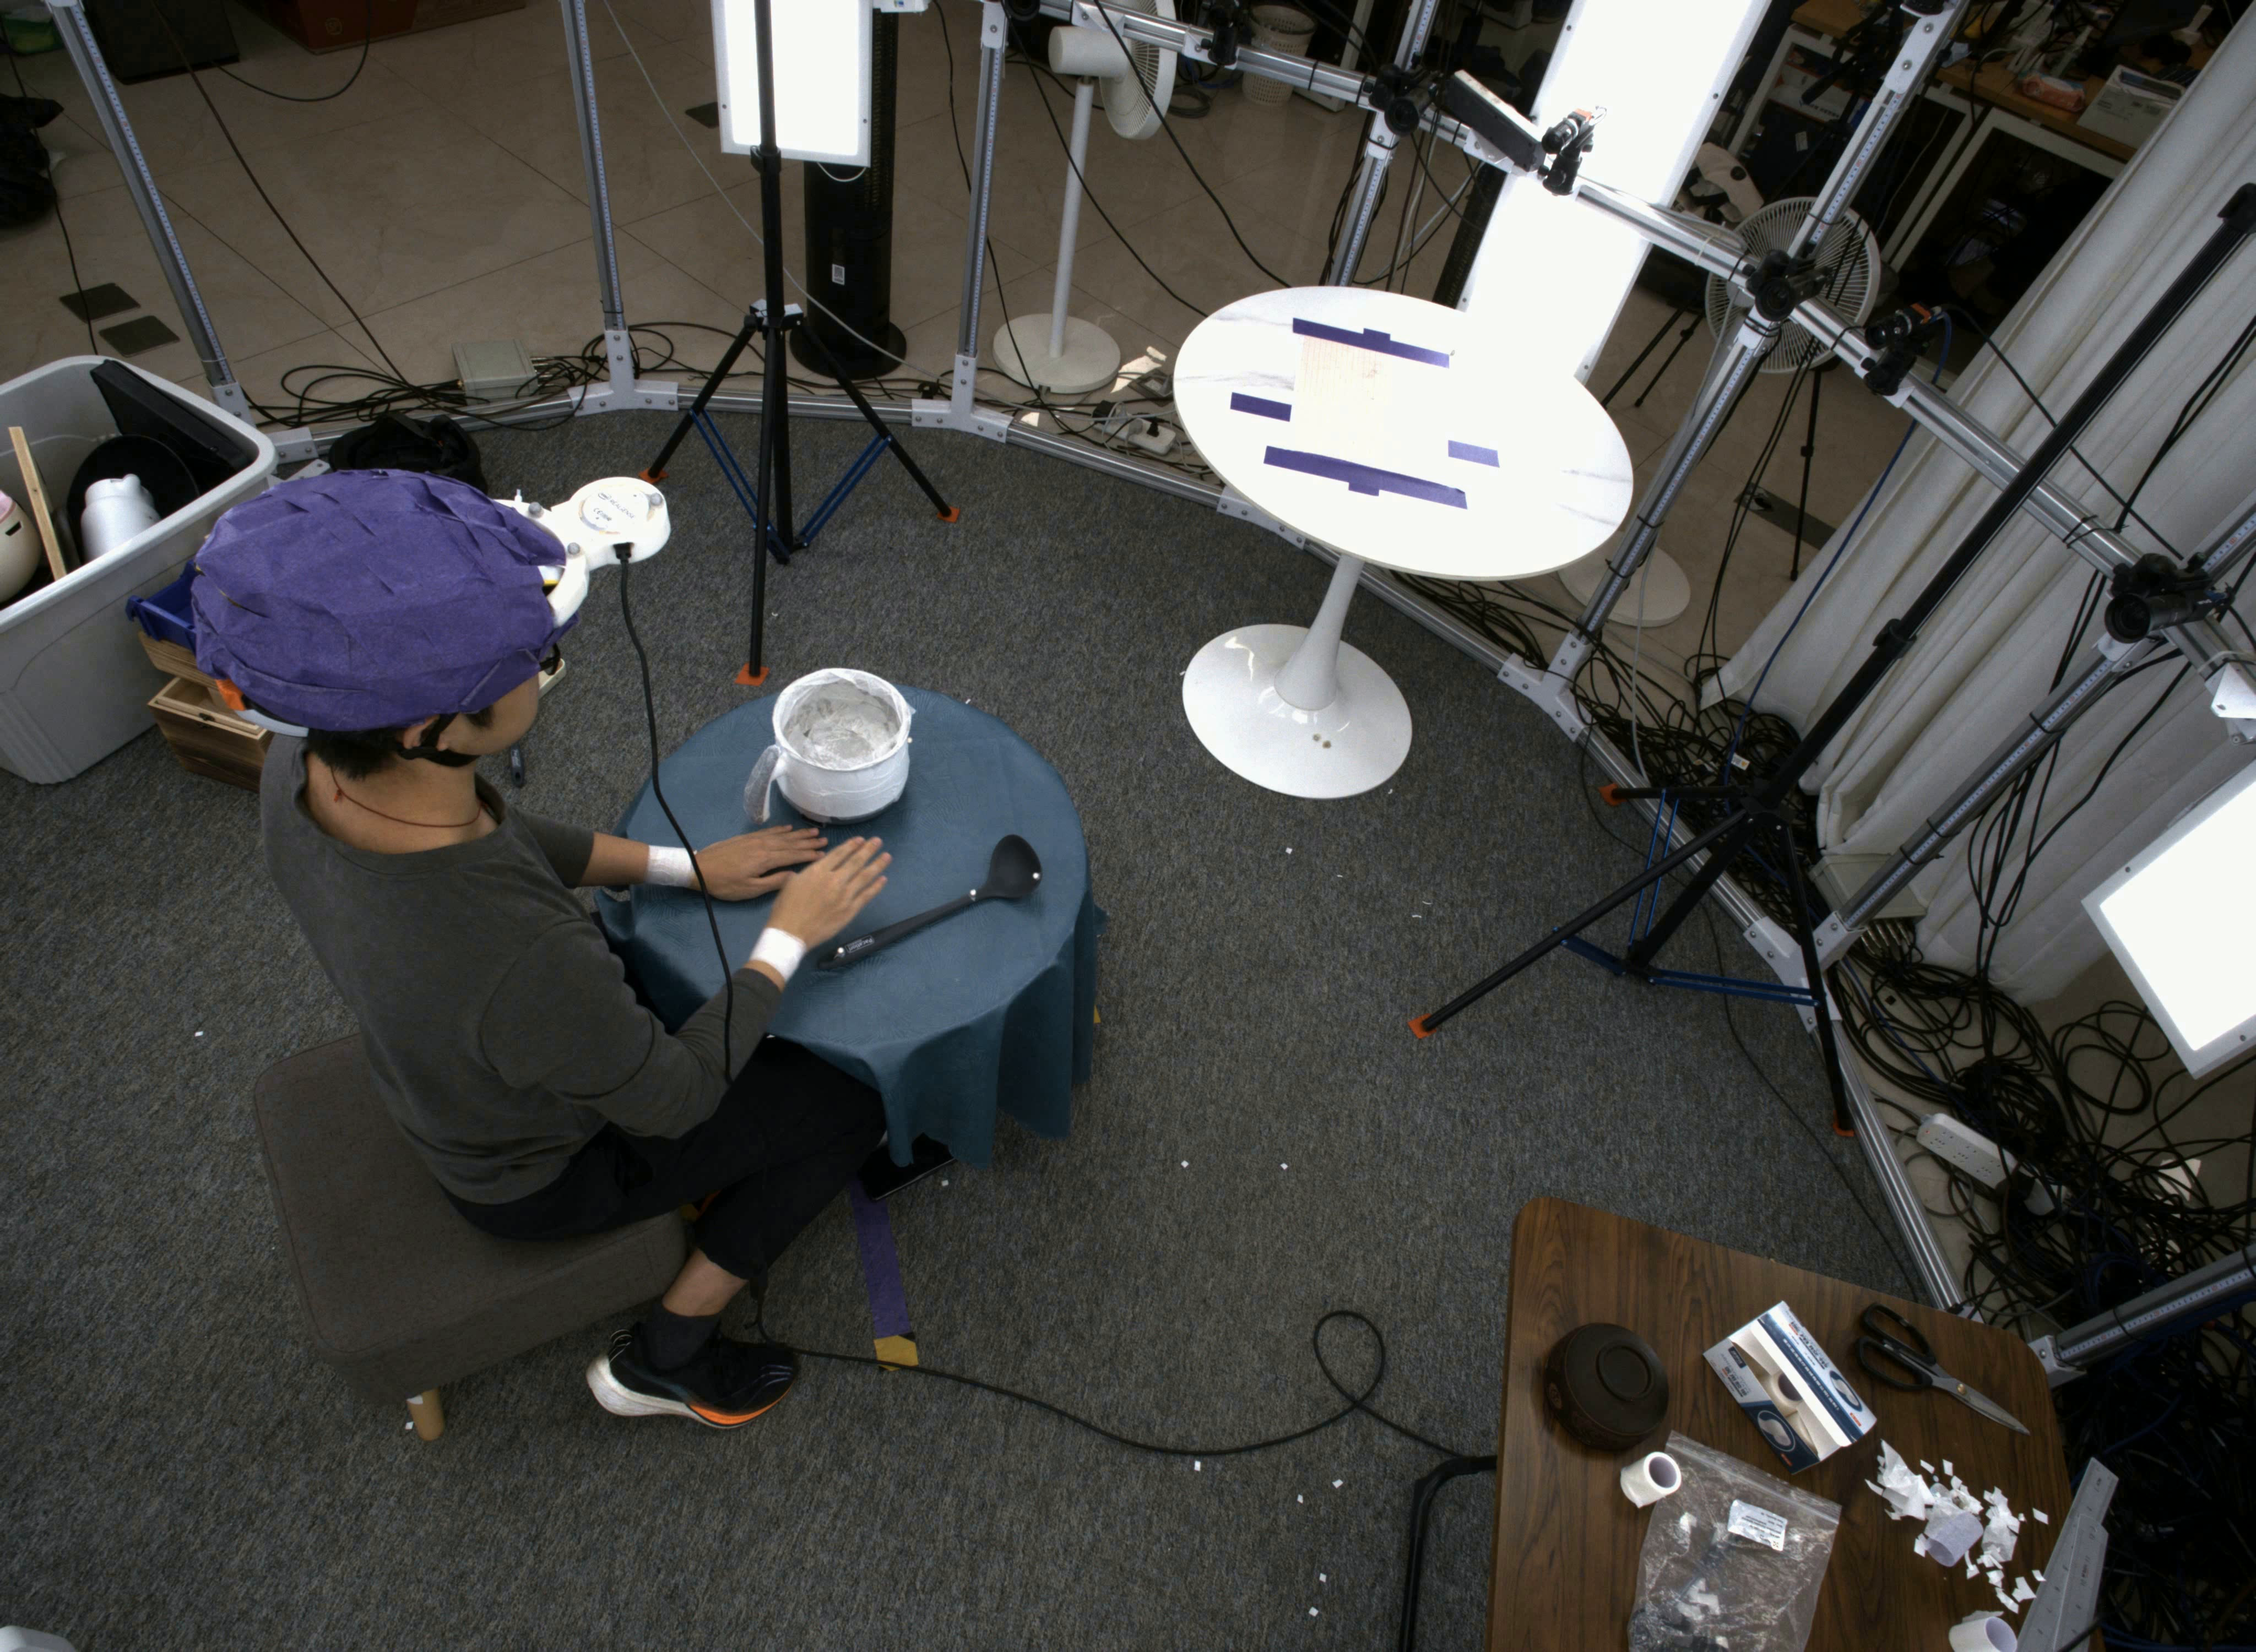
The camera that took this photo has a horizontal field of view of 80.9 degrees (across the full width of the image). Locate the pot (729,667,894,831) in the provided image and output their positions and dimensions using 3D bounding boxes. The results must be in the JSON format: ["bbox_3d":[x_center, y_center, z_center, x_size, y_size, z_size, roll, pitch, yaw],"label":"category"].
[{"bbox_3d":[-0.422,-0.088,1.713,0.234,0.139,0.174,-34,66,-31],"label":"pot"}]

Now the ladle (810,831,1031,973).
[{"bbox_3d":[-0.265,0.100,1.661,0.315,0.065,0.084,-26,60,-29],"label":"ladle"}]
